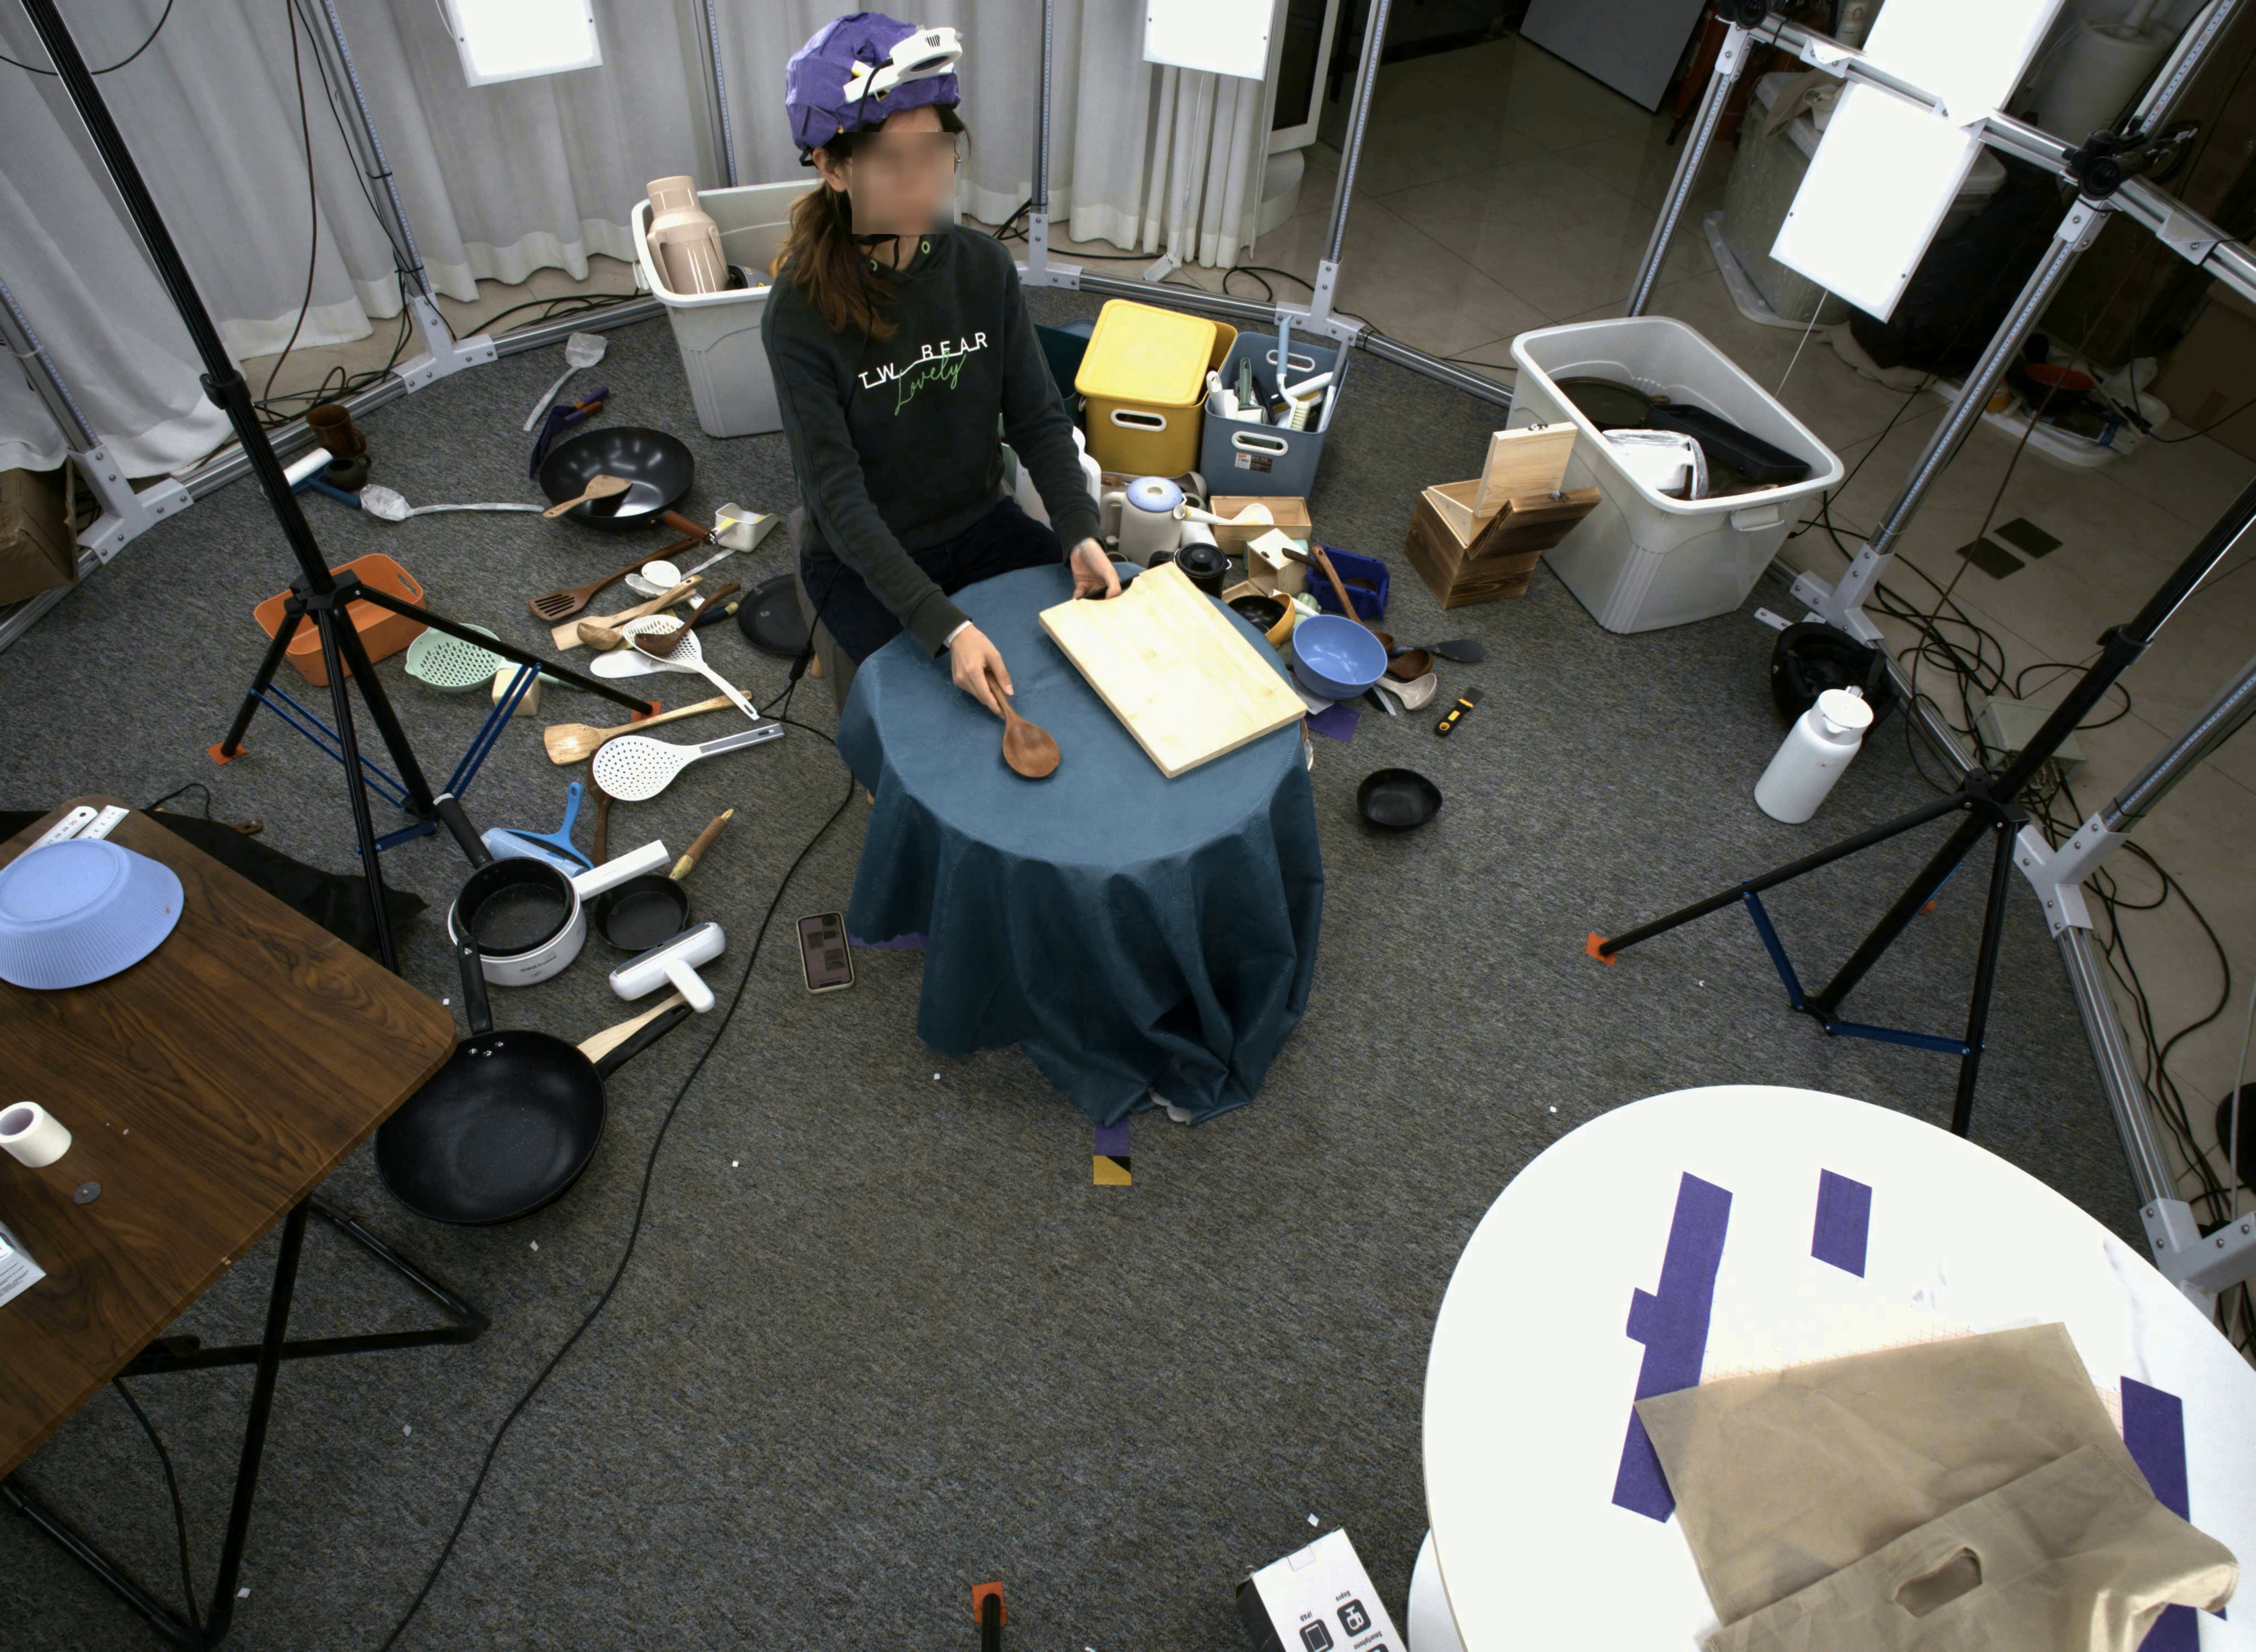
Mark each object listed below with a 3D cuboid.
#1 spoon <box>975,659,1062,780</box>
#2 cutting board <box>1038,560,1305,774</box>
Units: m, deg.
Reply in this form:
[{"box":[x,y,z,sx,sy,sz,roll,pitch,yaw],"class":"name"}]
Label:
[{"box":[-0.158,-0.149,1.775,0.075,0.017,0.220,-22,63,-17],"class":"spoon"},{"box":[0.059,-0.239,1.870,0.252,0.023,0.355,-25,59,-24],"class":"cutting board"}]
